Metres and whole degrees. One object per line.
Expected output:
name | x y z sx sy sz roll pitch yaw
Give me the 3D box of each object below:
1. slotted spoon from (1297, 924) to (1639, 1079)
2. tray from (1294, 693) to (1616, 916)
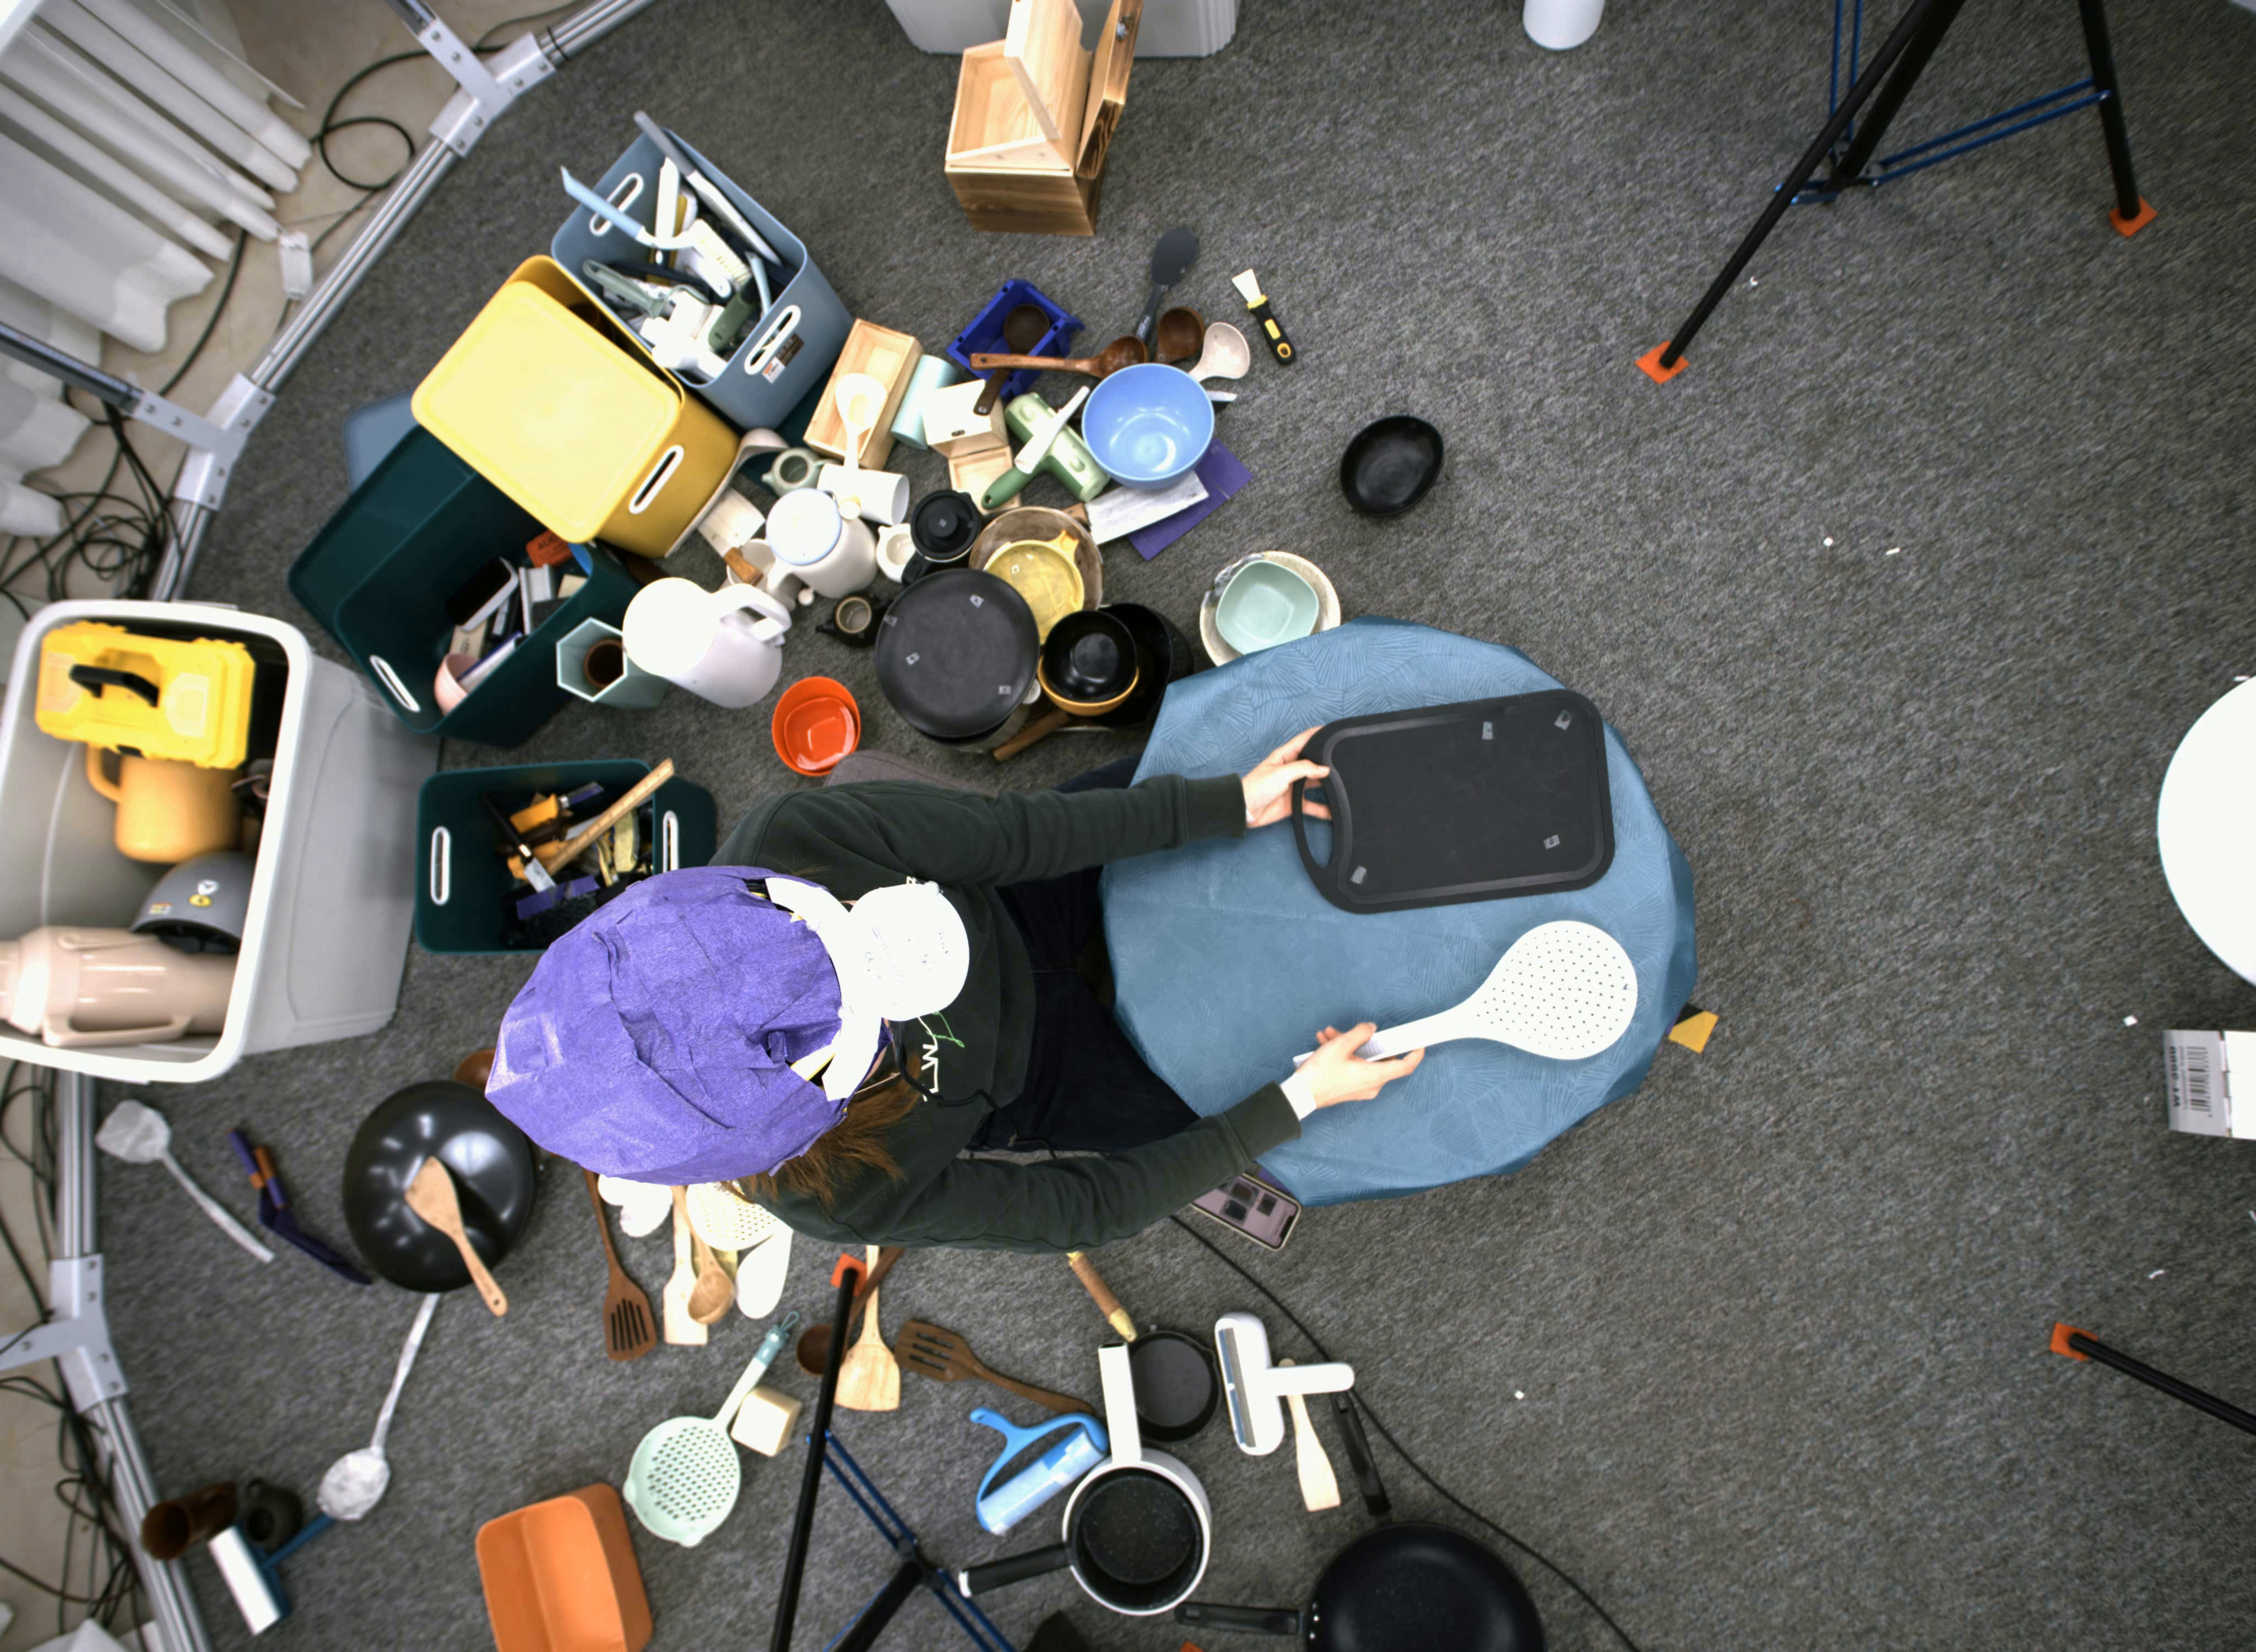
slotted spoon | 0.343 0.197 1.403 0.350 0.046 0.135 -17 84 2
tray | 0.336 -0.020 1.428 0.327 0.009 0.212 -7 100 9
